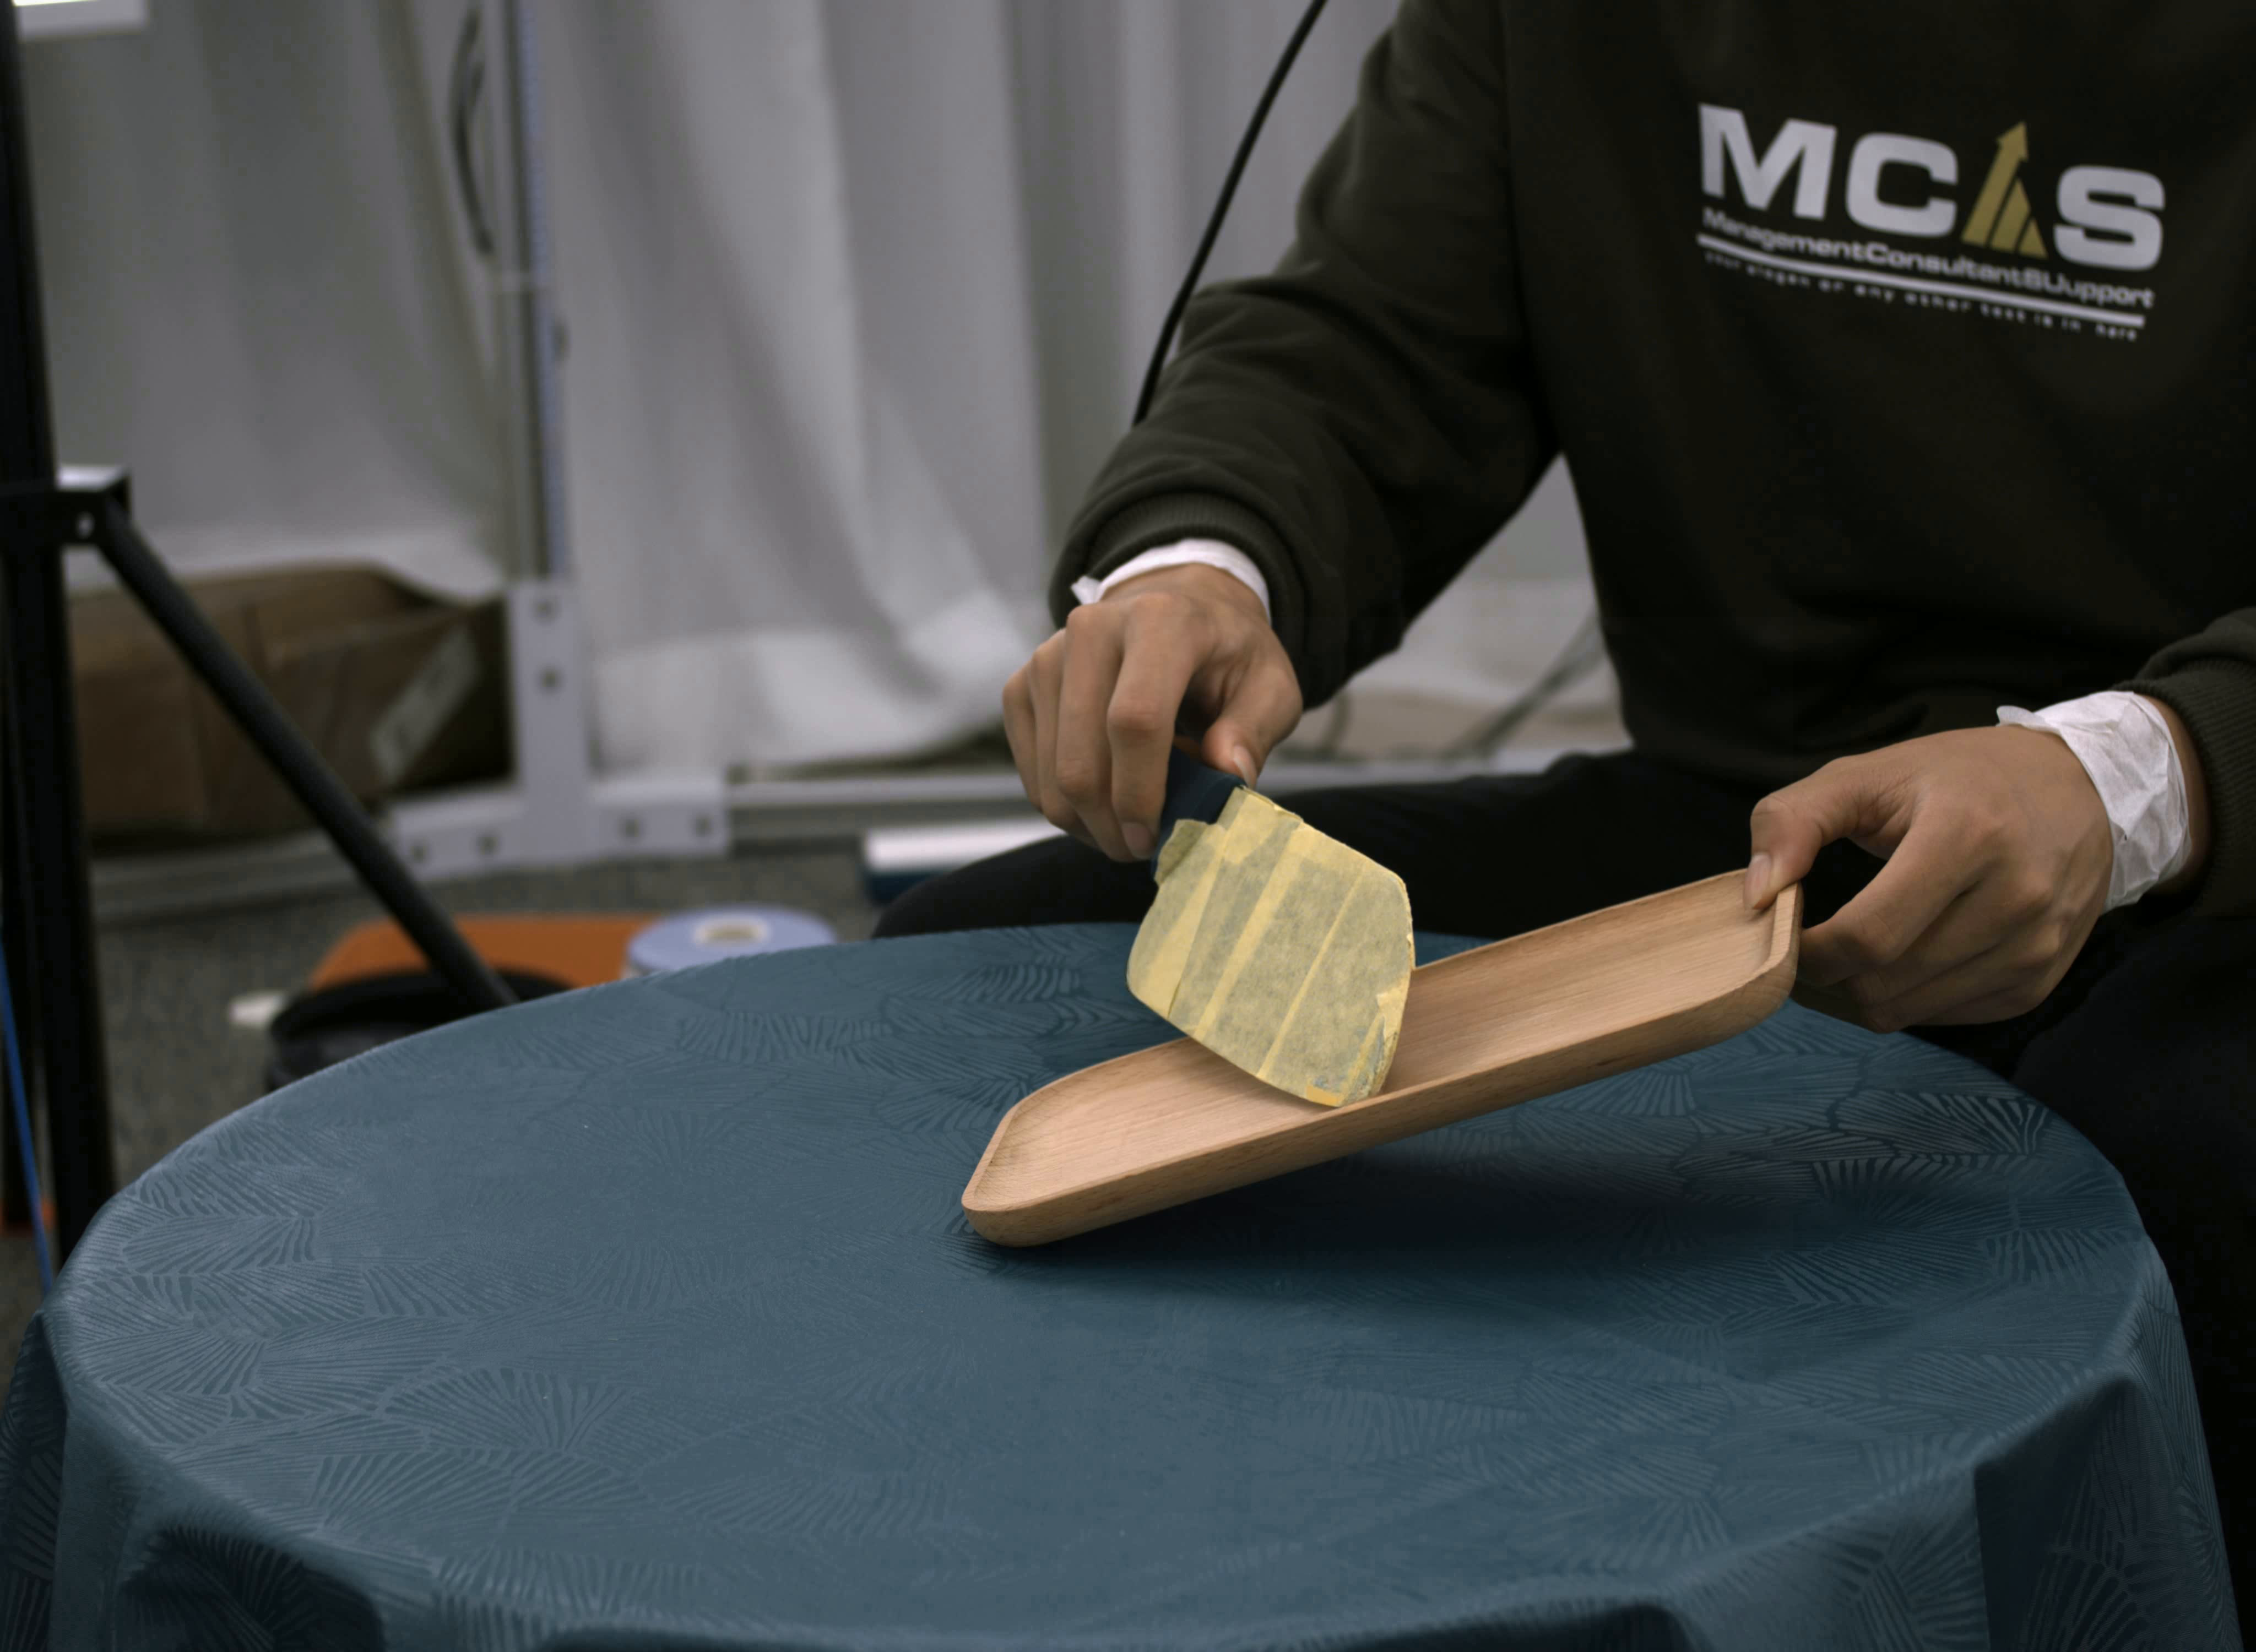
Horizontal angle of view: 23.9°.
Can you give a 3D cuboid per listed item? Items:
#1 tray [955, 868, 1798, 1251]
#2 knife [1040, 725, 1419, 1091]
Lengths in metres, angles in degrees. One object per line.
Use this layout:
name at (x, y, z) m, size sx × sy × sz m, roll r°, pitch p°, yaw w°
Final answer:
tray at (0.074, 0.068, 1.530) m, size 0.252 × 0.023 × 0.130 m, roll -18°, pitch 10°, yaw 15°
knife at (0.025, 0.021, 1.612) m, size 0.026 × 0.081 × 0.294 m, roll 29°, pitch 4°, yaw -25°
